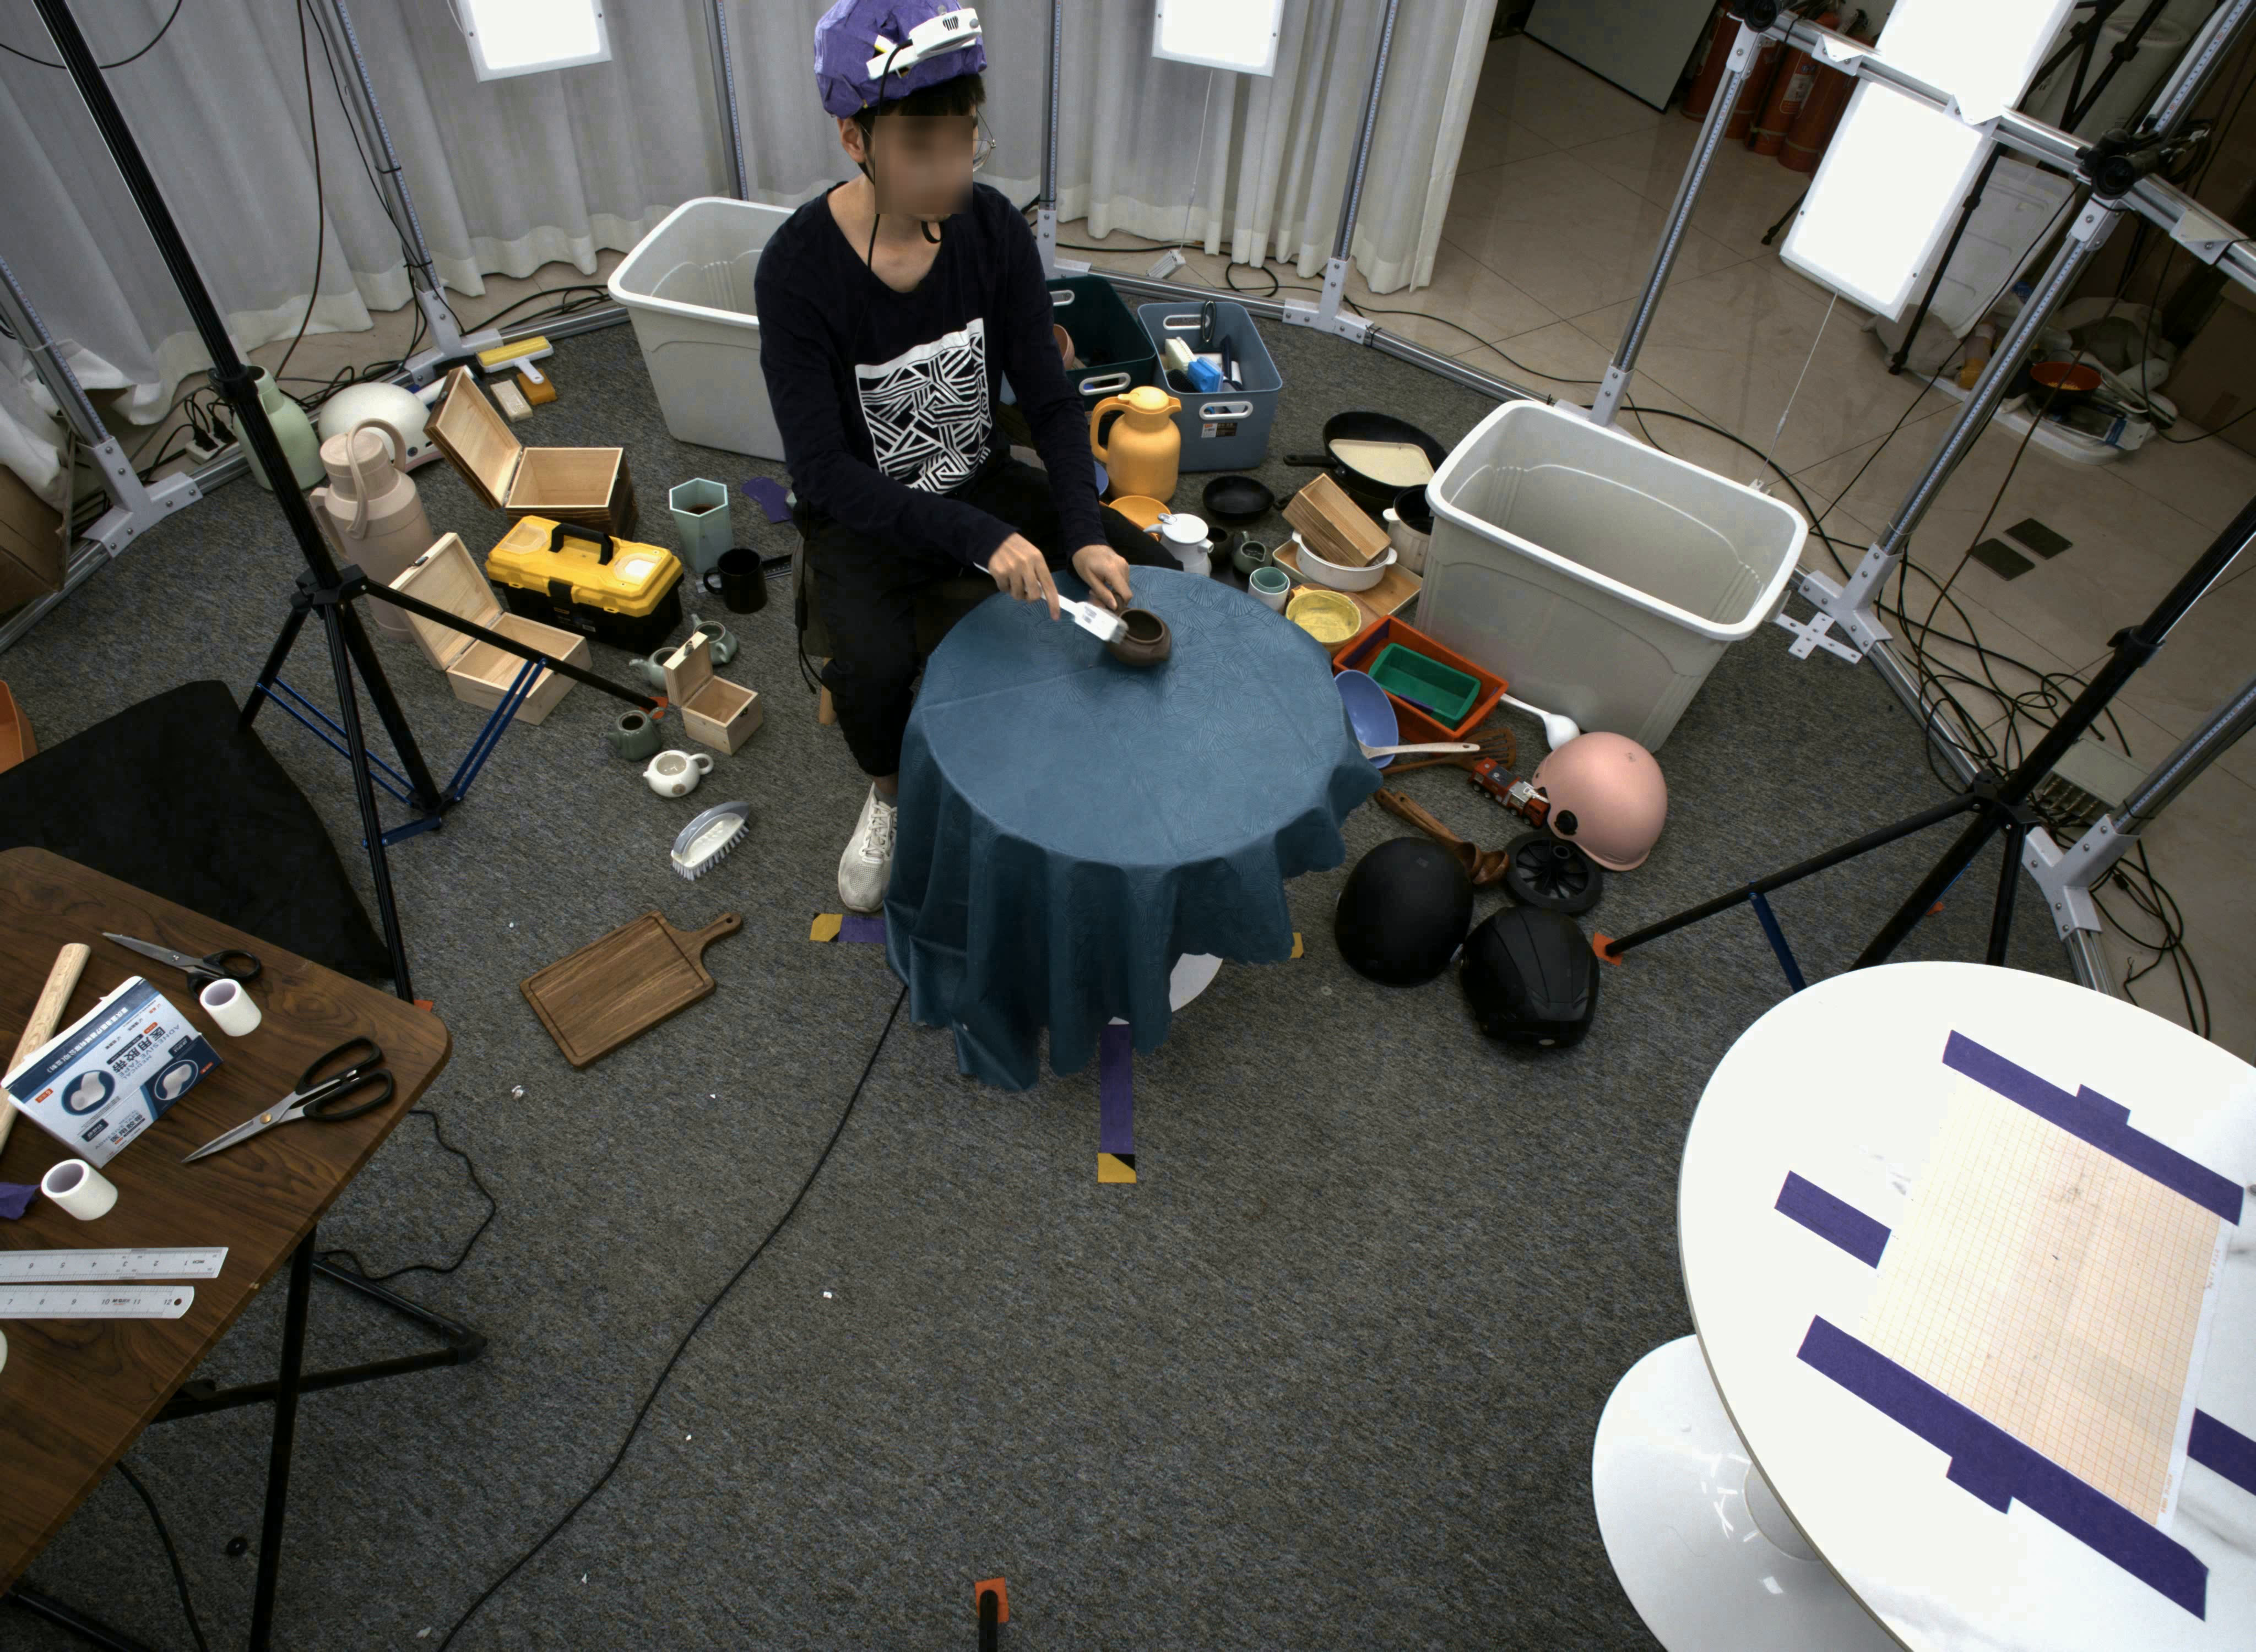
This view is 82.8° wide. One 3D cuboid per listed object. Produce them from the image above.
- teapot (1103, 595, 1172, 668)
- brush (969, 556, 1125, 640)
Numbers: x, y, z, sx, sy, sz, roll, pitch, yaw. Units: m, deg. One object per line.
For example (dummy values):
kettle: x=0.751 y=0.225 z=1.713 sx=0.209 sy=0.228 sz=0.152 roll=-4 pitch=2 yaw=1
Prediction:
teapot: x=0.012 y=-0.278 z=1.870 sx=0.103 sy=0.052 sz=0.156 roll=-24 pitch=61 yaw=-33
brush: x=-0.116 y=-0.330 z=1.845 sx=0.245 sy=0.034 sz=0.050 roll=27 pitch=18 yaw=13
